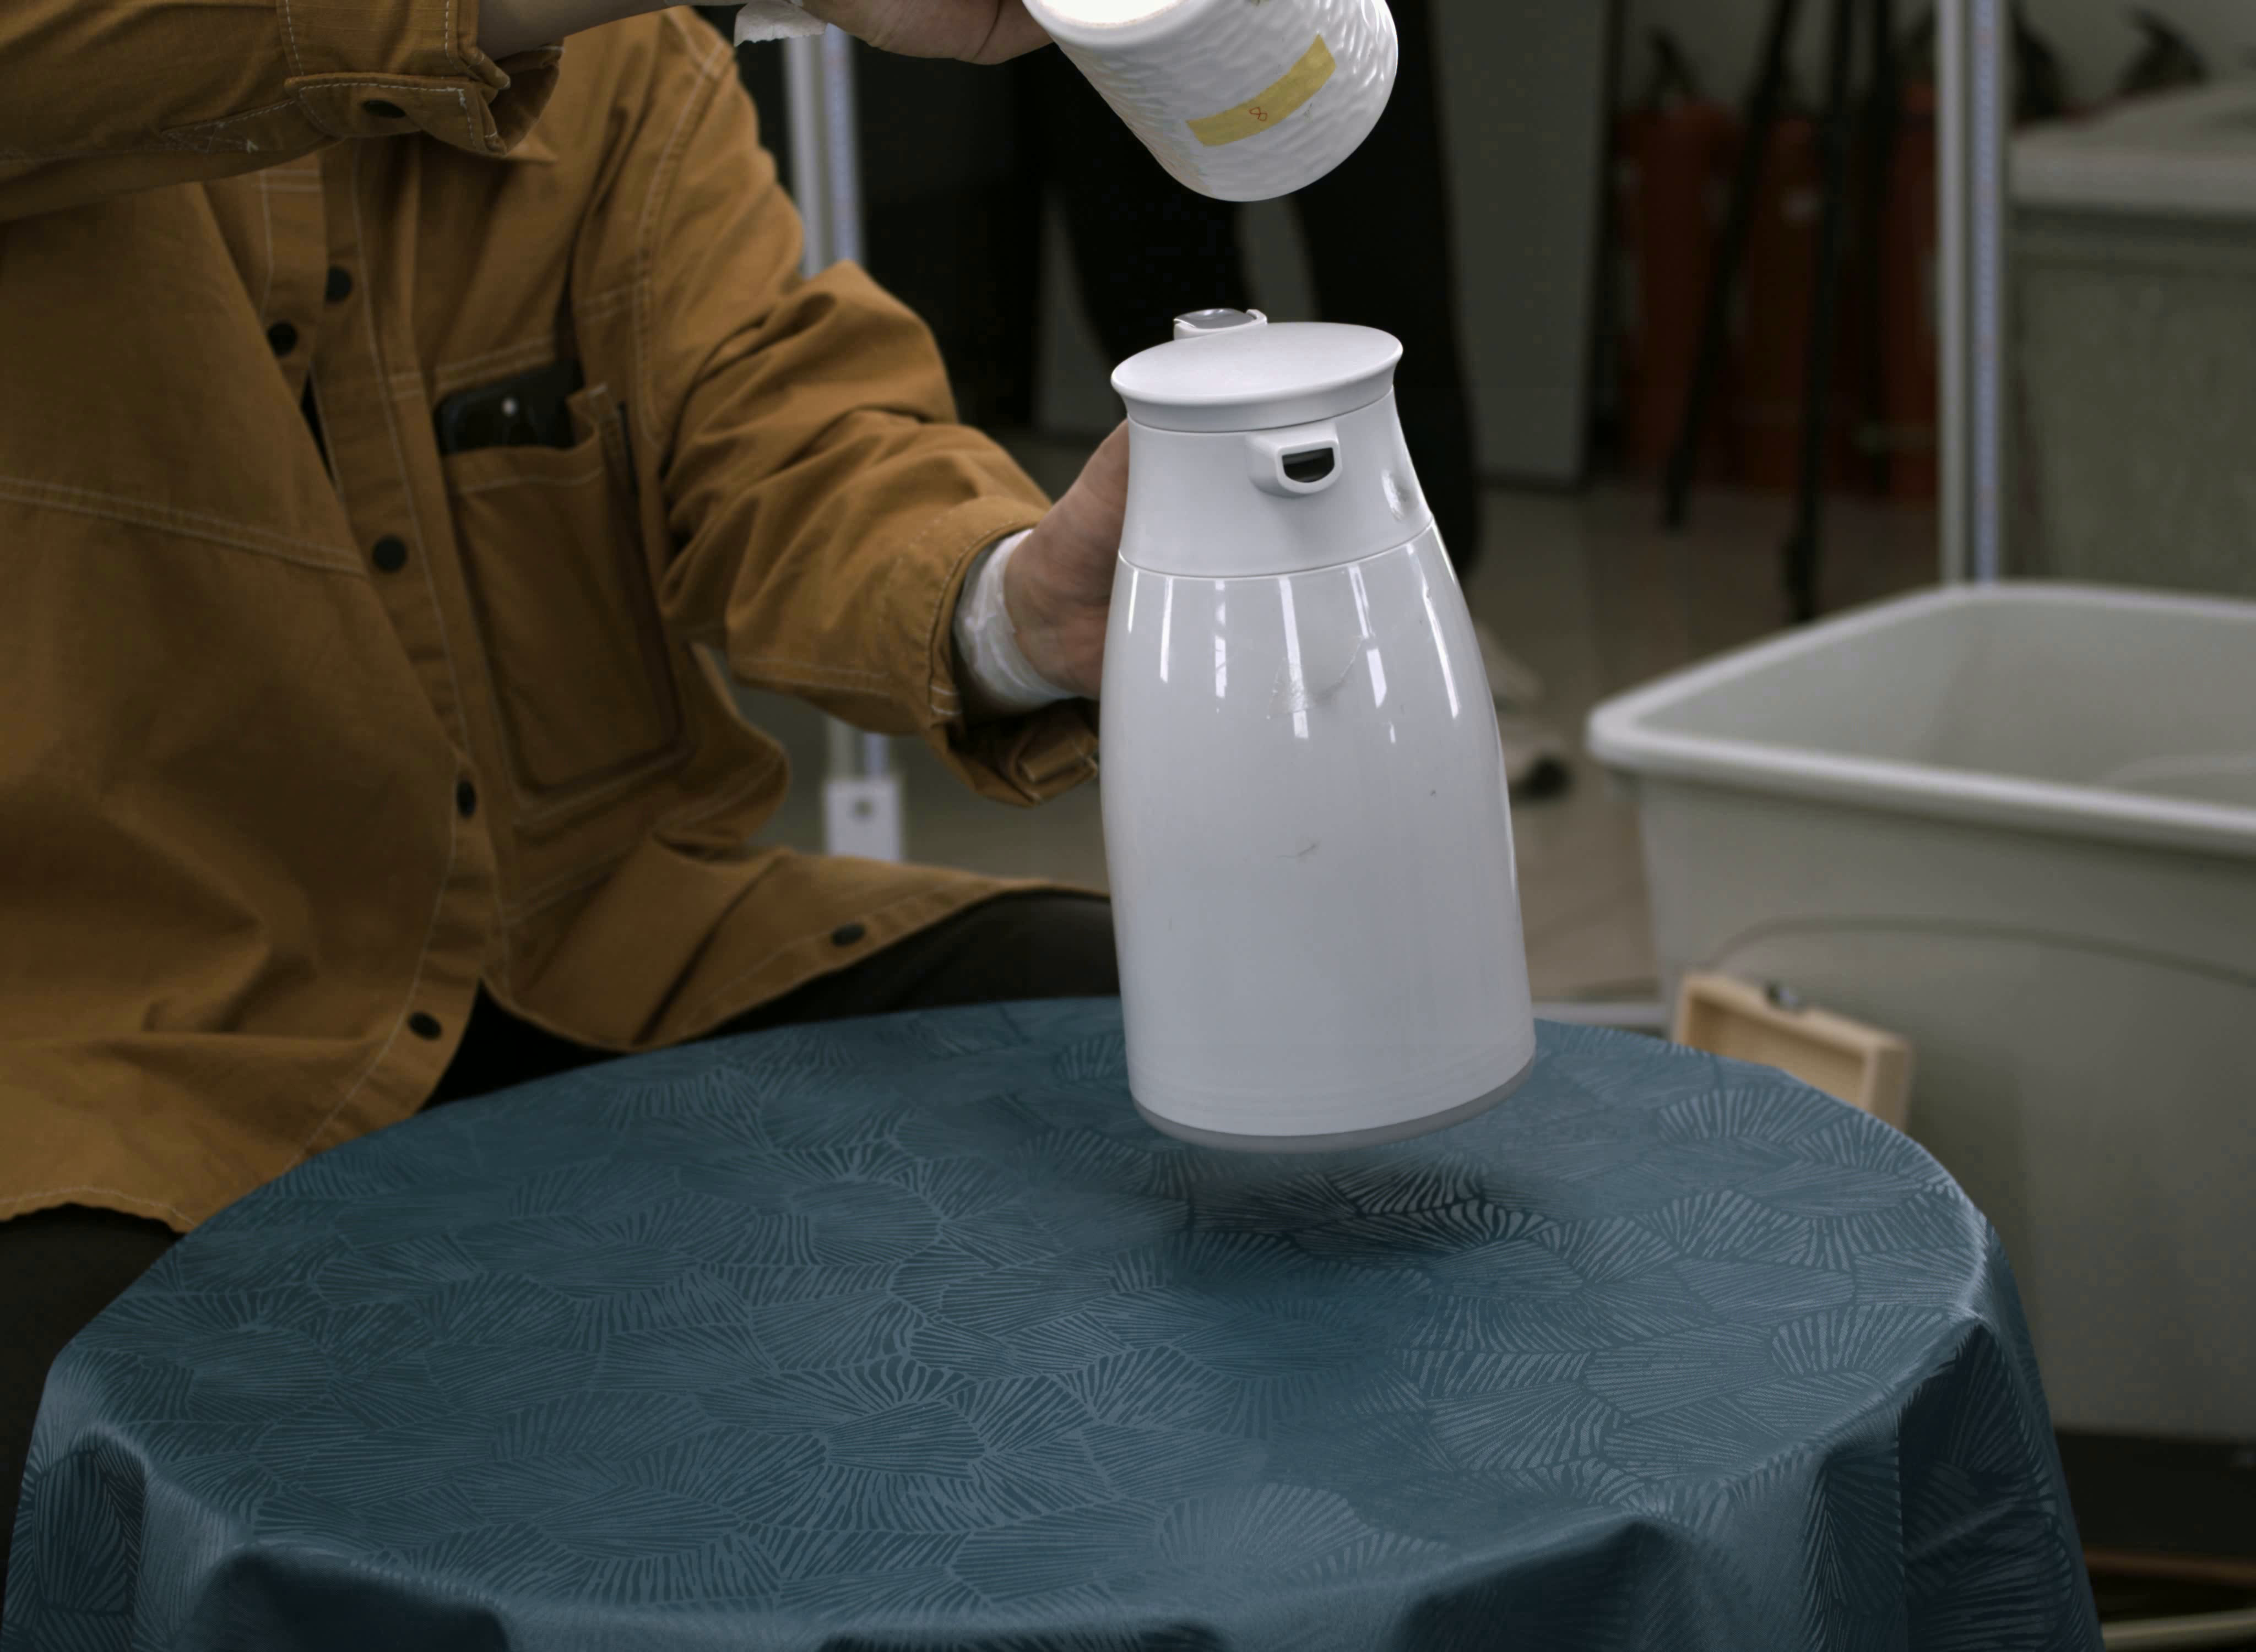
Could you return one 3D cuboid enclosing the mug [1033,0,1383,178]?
[{"bbox_3d":[0.008,-0.261,1.606,0.119,0.085,0.100,37,-3,35],"label":"mug"}]

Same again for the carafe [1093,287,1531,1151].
[{"bbox_3d":[0.045,-0.043,1.715,0.130,0.251,0.169,-11,17,-10],"label":"carafe"}]
